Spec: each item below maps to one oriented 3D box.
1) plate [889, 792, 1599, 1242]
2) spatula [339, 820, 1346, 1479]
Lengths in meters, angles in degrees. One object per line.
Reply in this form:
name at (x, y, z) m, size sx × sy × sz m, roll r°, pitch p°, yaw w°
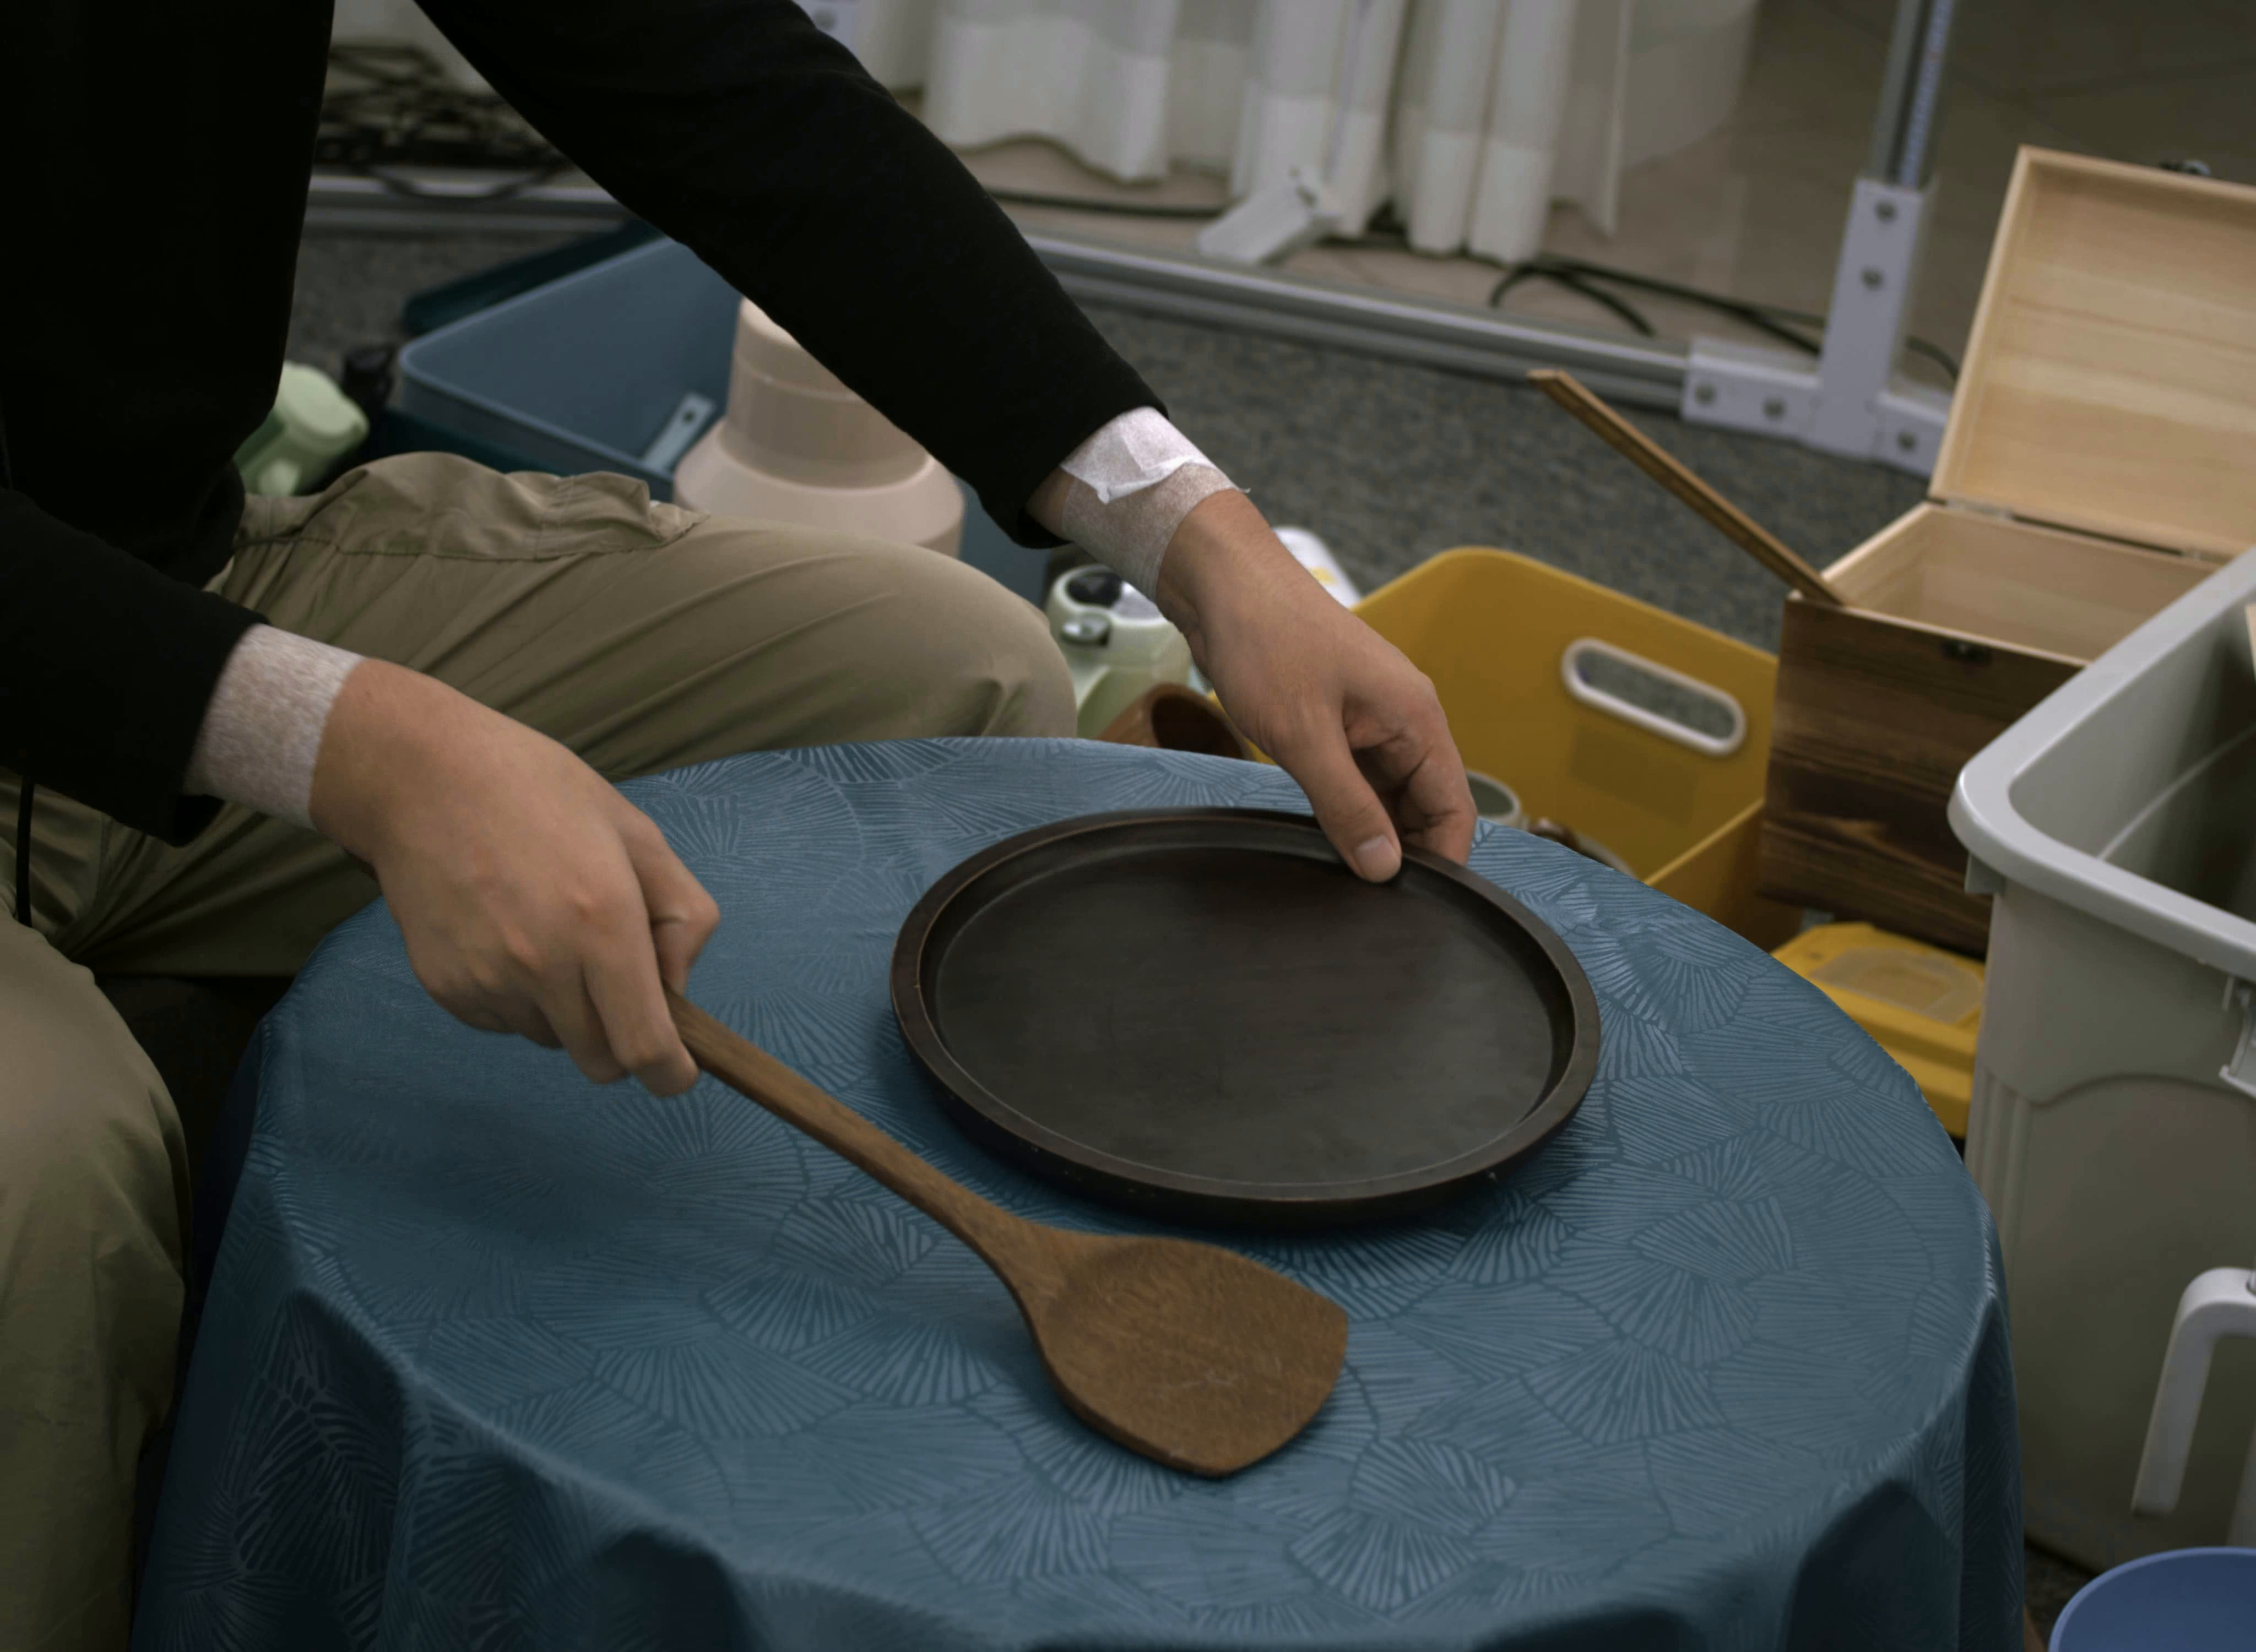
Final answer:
plate at (0.040, 0.068, 1.879) m, size 0.254 × 0.029 × 0.256 m, roll 4°, pitch 32°, yaw -3°
spatula at (-0.103, 0.095, 1.730) m, size 0.387 × 0.016 × 0.096 m, roll 31°, pitch 42°, yaw 16°
